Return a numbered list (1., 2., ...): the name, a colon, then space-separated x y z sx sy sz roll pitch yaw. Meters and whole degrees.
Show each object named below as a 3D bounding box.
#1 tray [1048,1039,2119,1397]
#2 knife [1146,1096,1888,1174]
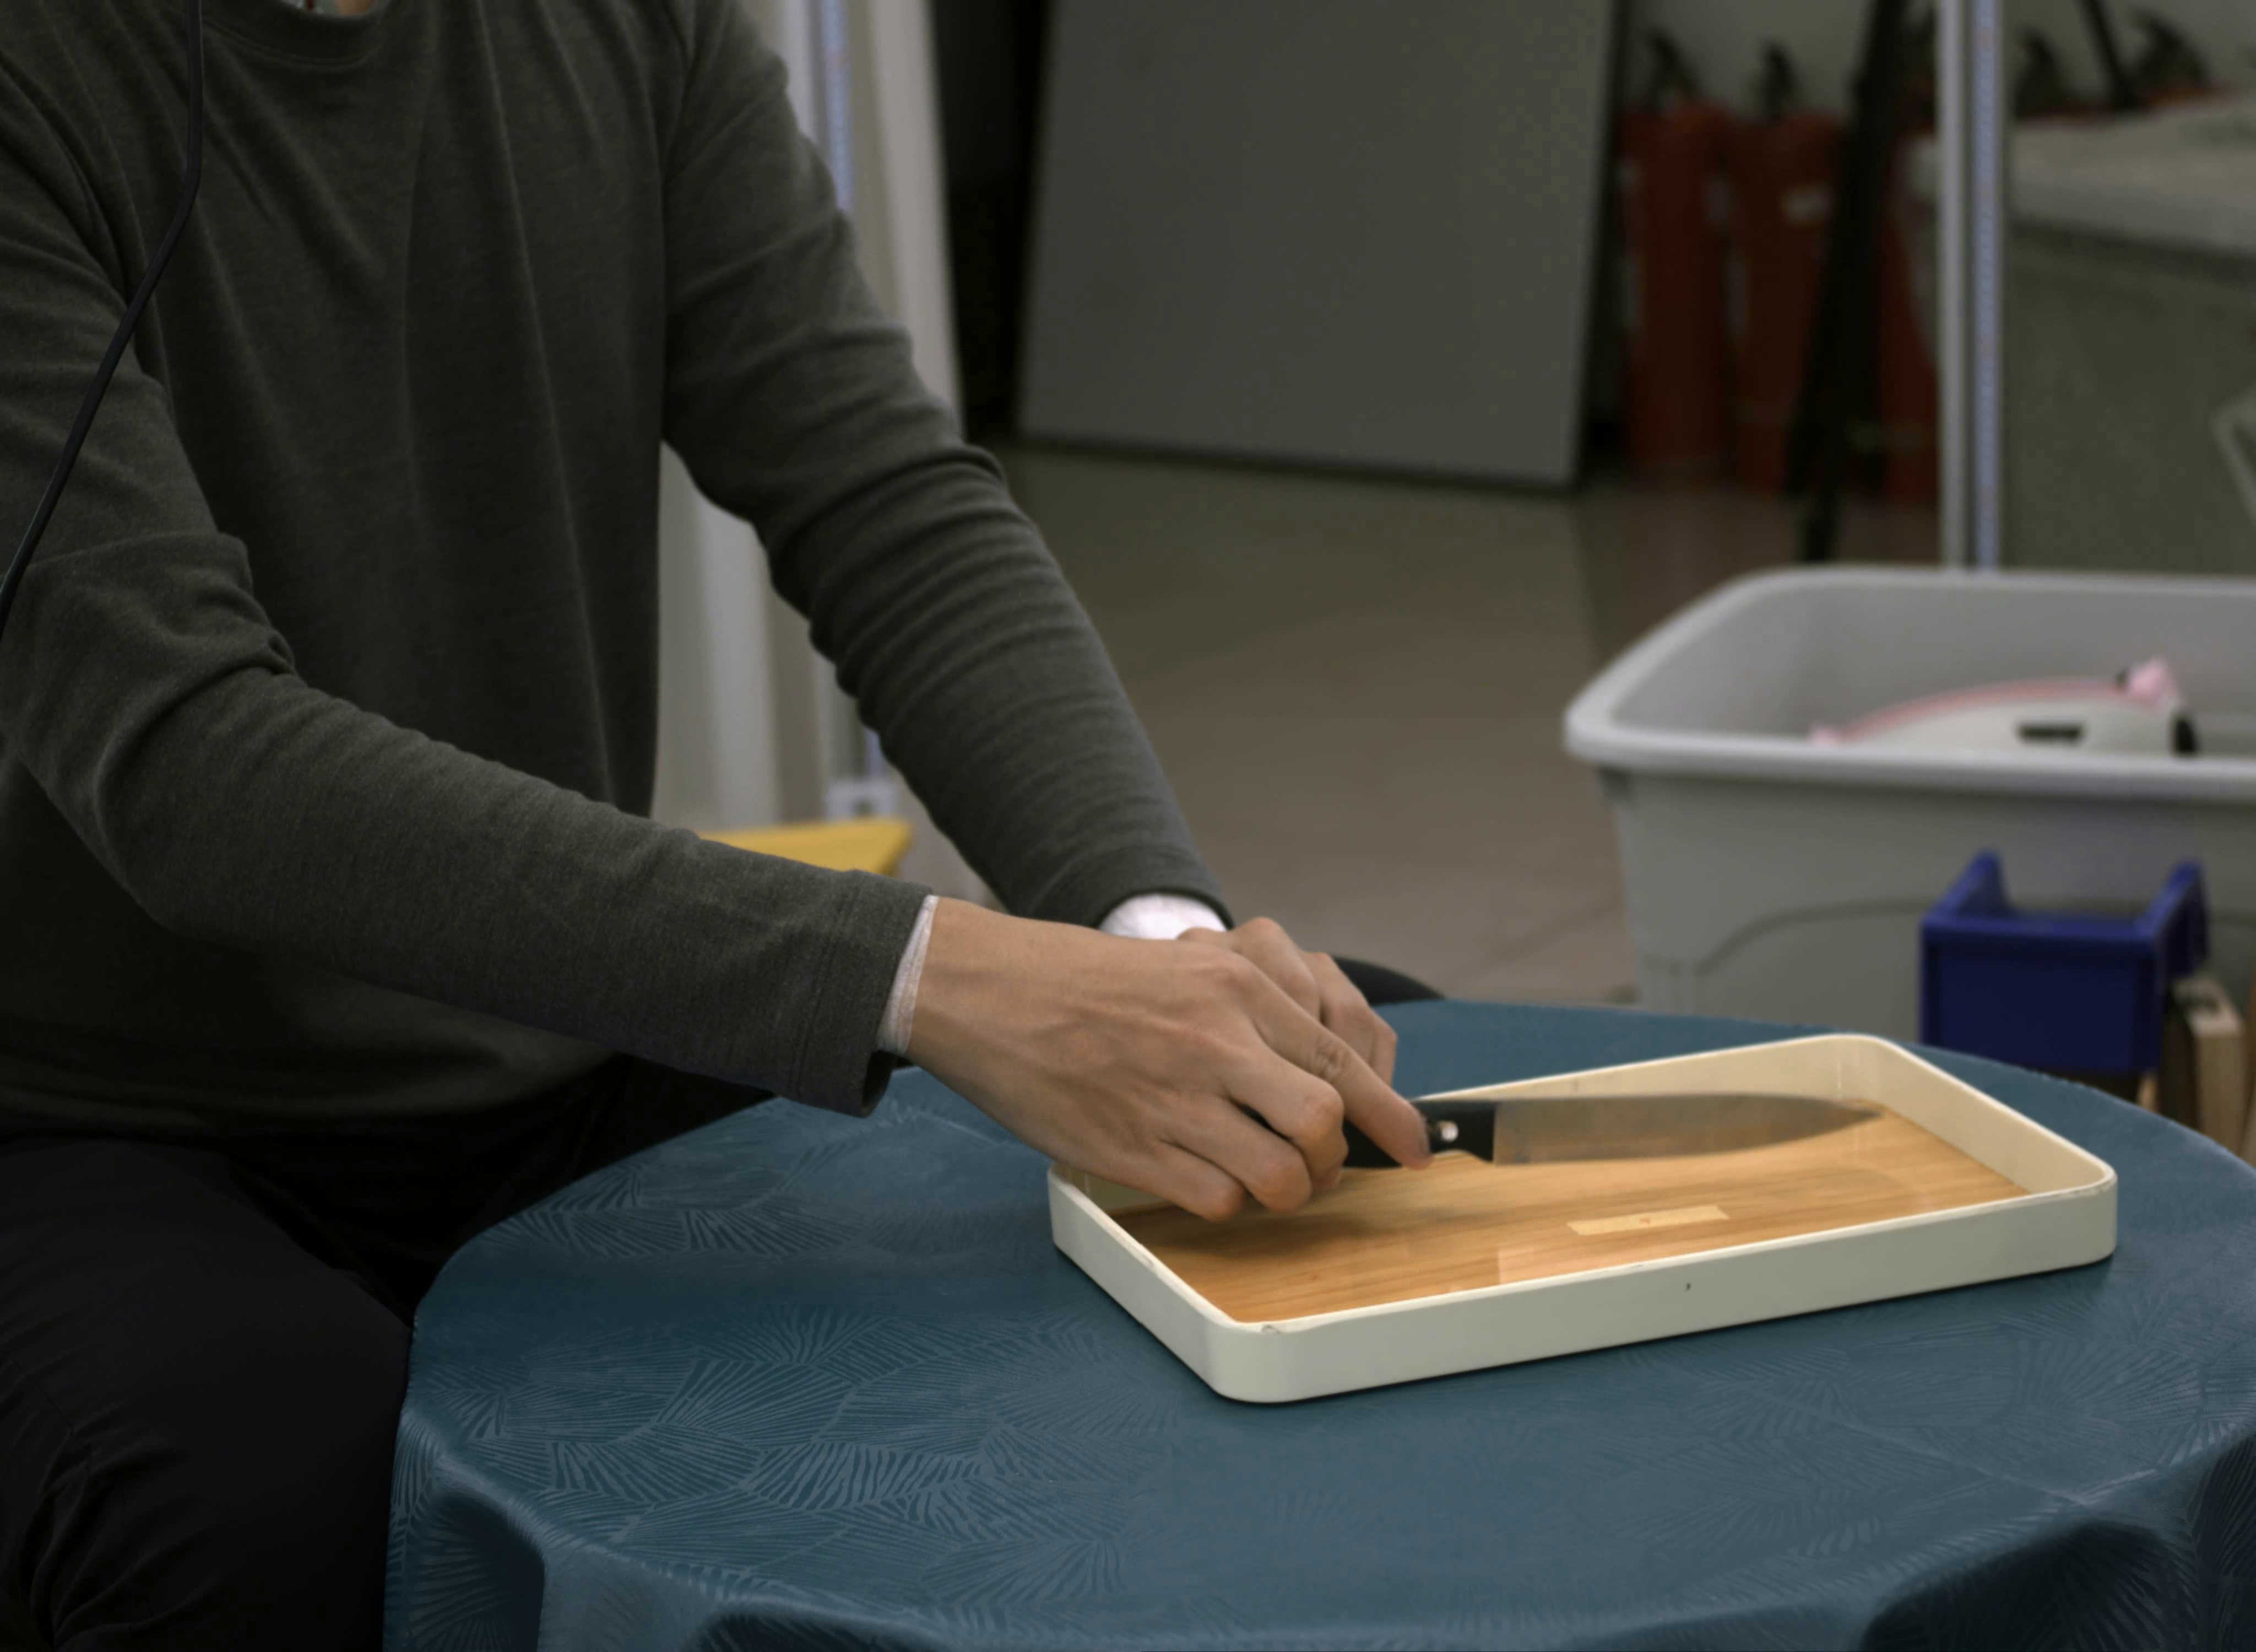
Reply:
1. tray: 0.139 0.120 1.684 0.294 0.028 0.193 -8 13 -16
2. knife: 0.123 0.097 1.706 0.235 0.025 0.016 -1 10 3
